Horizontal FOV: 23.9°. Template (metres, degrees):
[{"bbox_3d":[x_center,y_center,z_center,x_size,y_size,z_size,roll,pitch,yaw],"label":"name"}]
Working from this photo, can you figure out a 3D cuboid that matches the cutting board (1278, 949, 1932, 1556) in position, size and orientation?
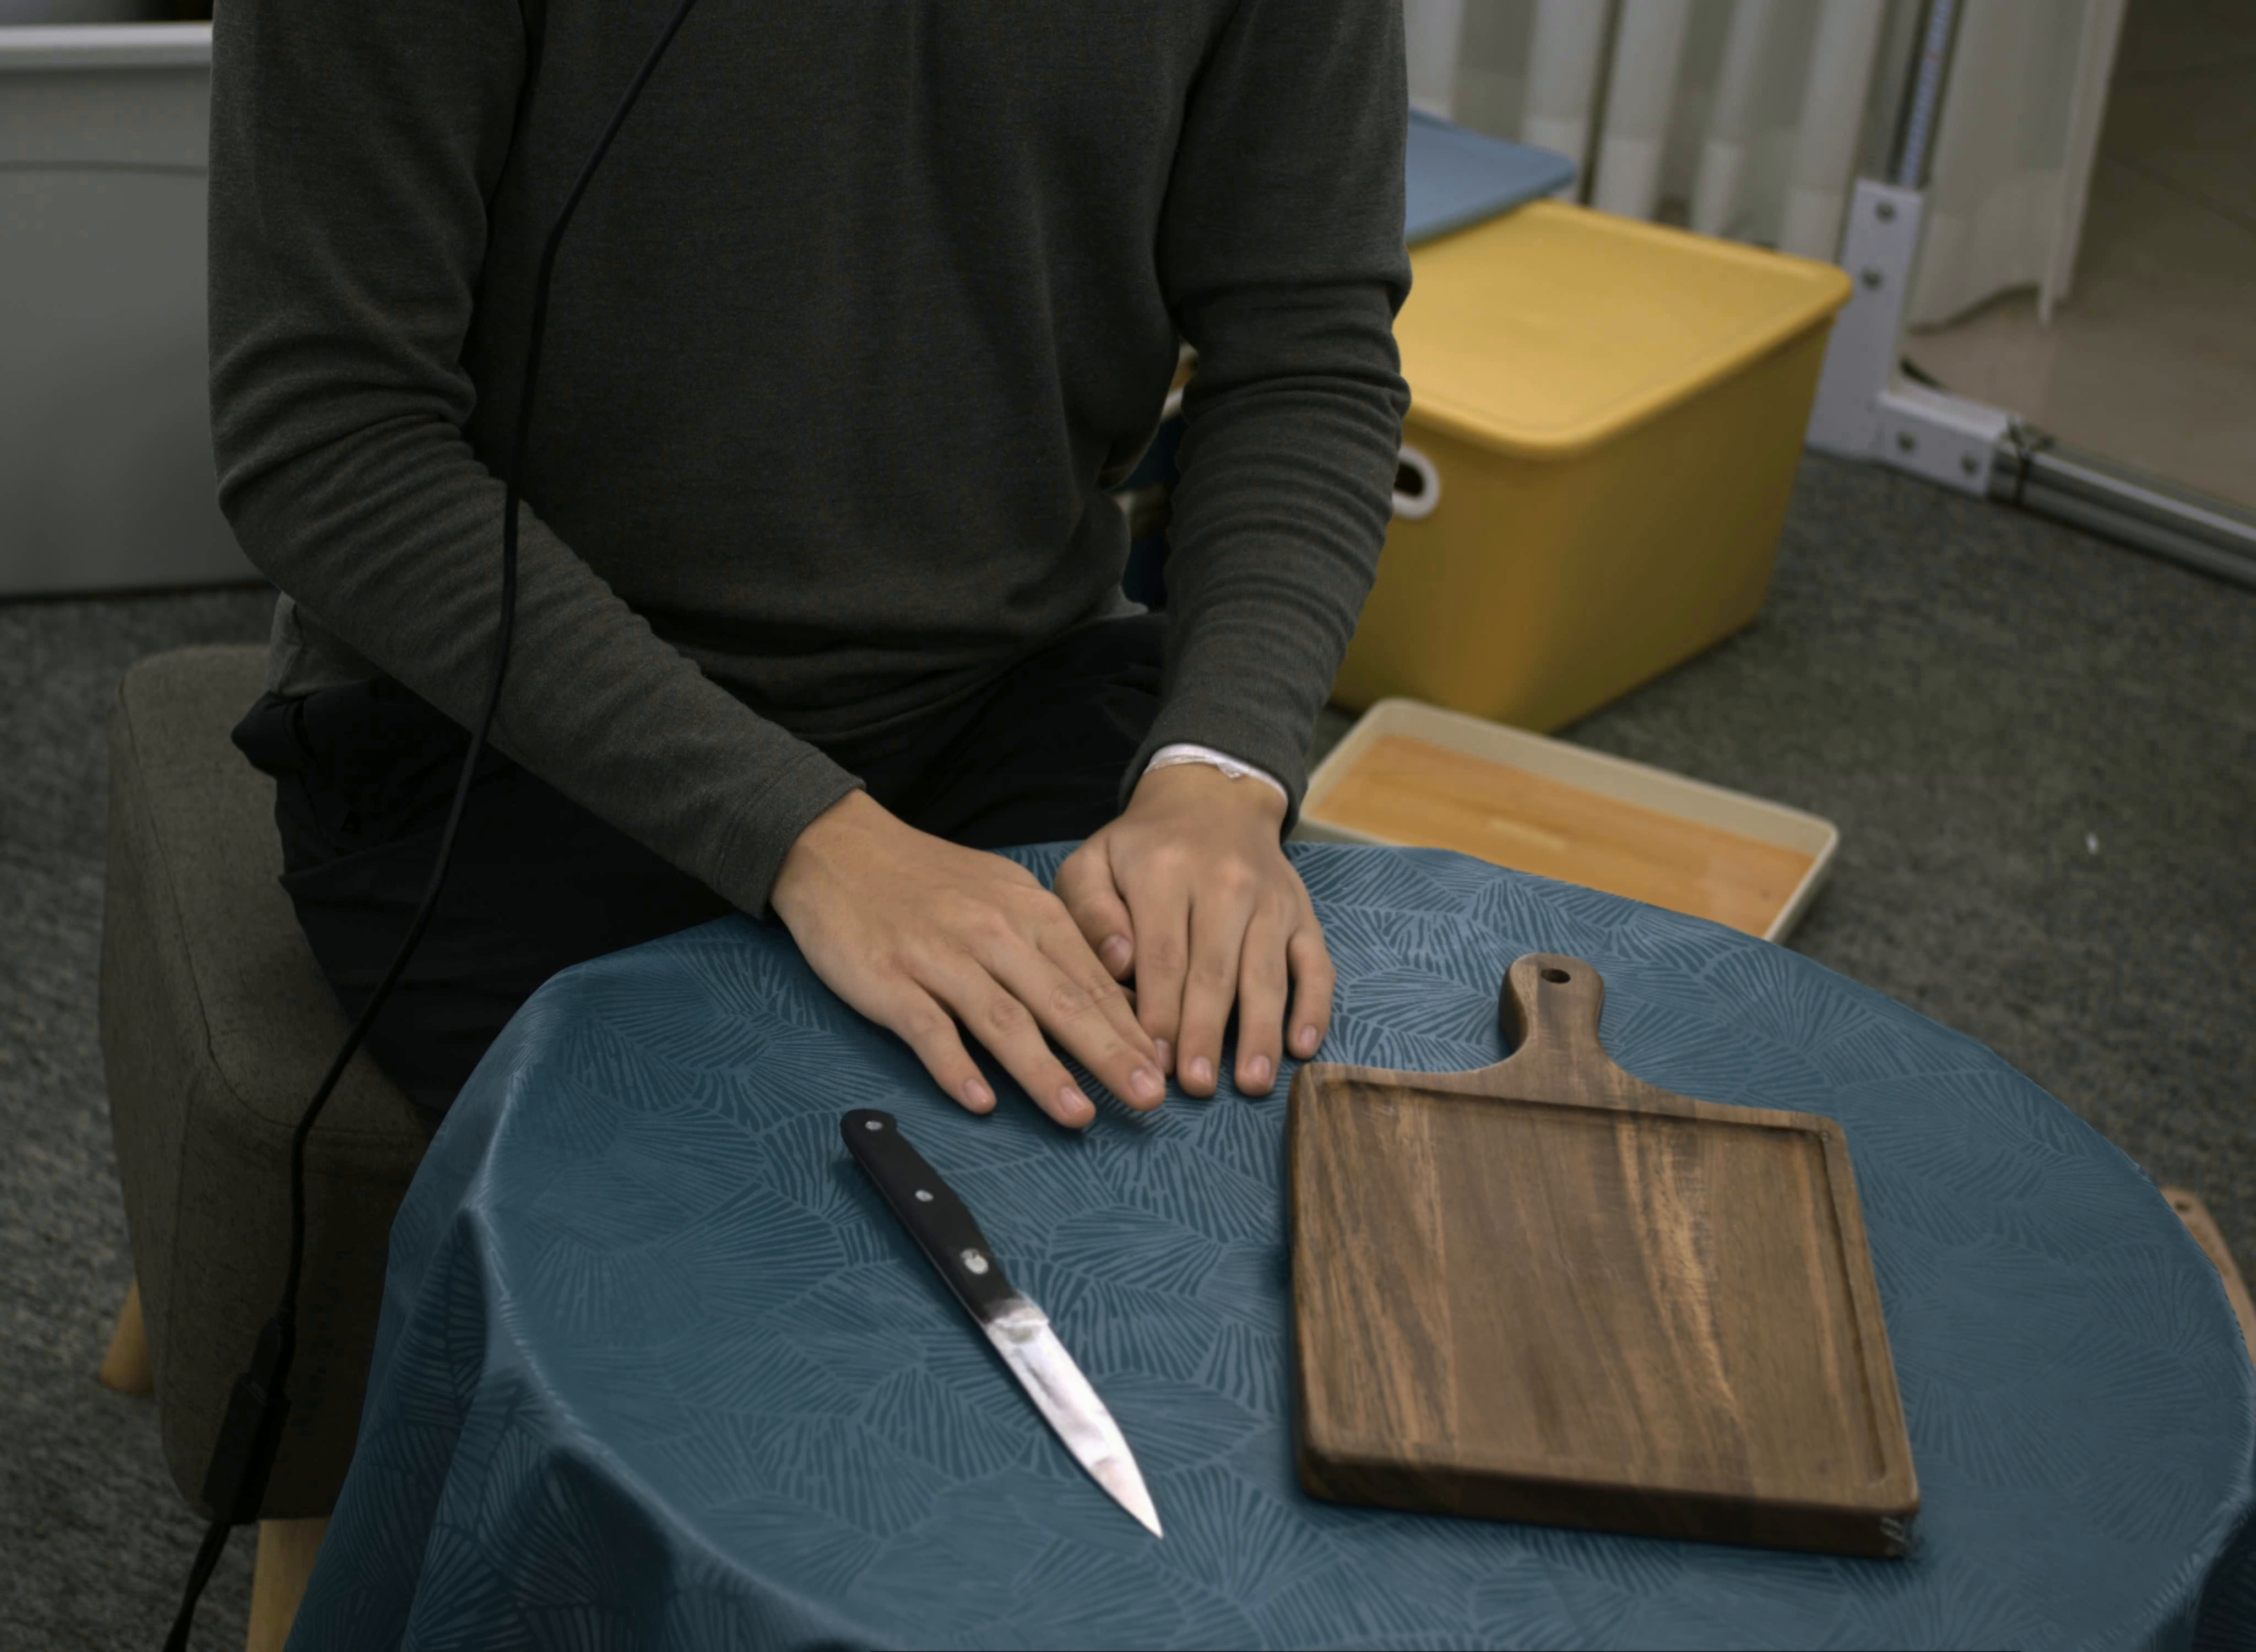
[{"bbox_3d":[0.152,0.133,1.800,0.200,0.023,0.354,6,26,-2],"label":"cutting board"}]

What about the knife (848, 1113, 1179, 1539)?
[{"bbox_3d":[-0.039,0.160,1.712,0.024,0.016,0.240,-9,33,-25],"label":"knife"}]
